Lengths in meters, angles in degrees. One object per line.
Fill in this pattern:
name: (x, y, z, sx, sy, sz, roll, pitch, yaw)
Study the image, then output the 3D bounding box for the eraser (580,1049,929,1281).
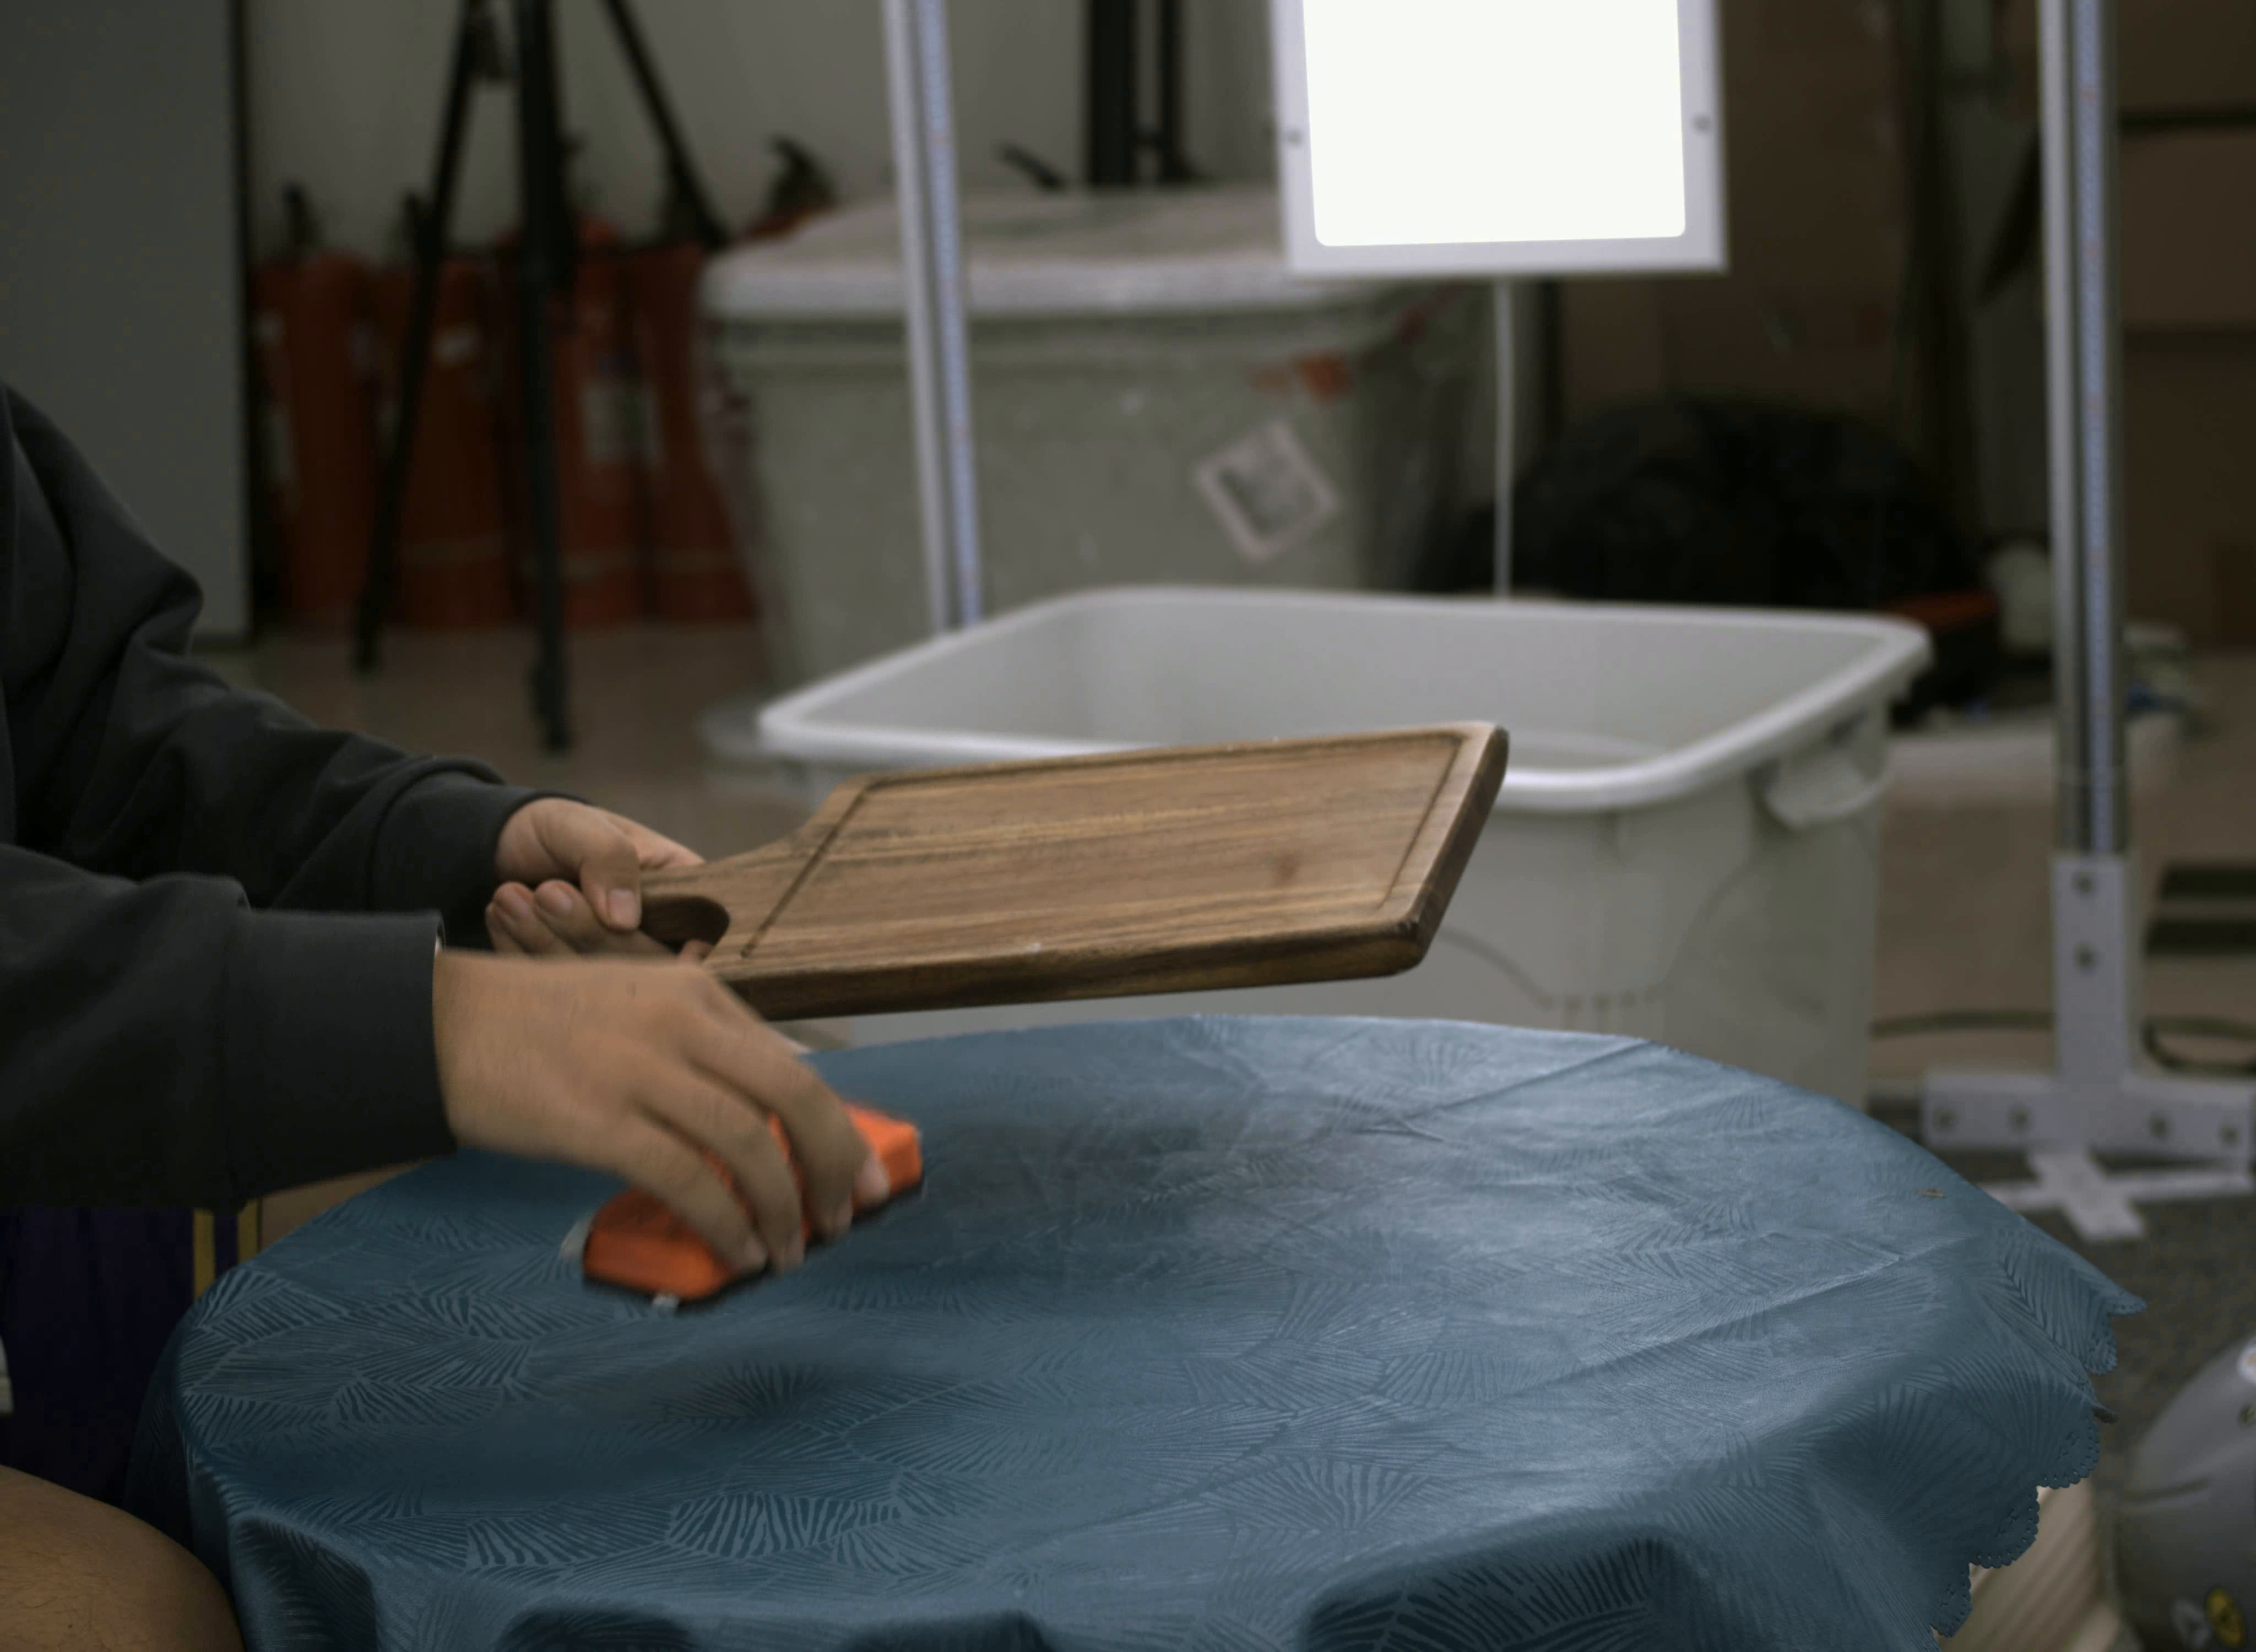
eraser: (-0.116, 0.105, 1.725, 0.060, 0.023, 0.105, 14, 33, 42)

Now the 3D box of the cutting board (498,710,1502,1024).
cutting board: (-0.053, 0.017, 1.916, 0.356, 0.023, 0.198, -6, 20, 17)
